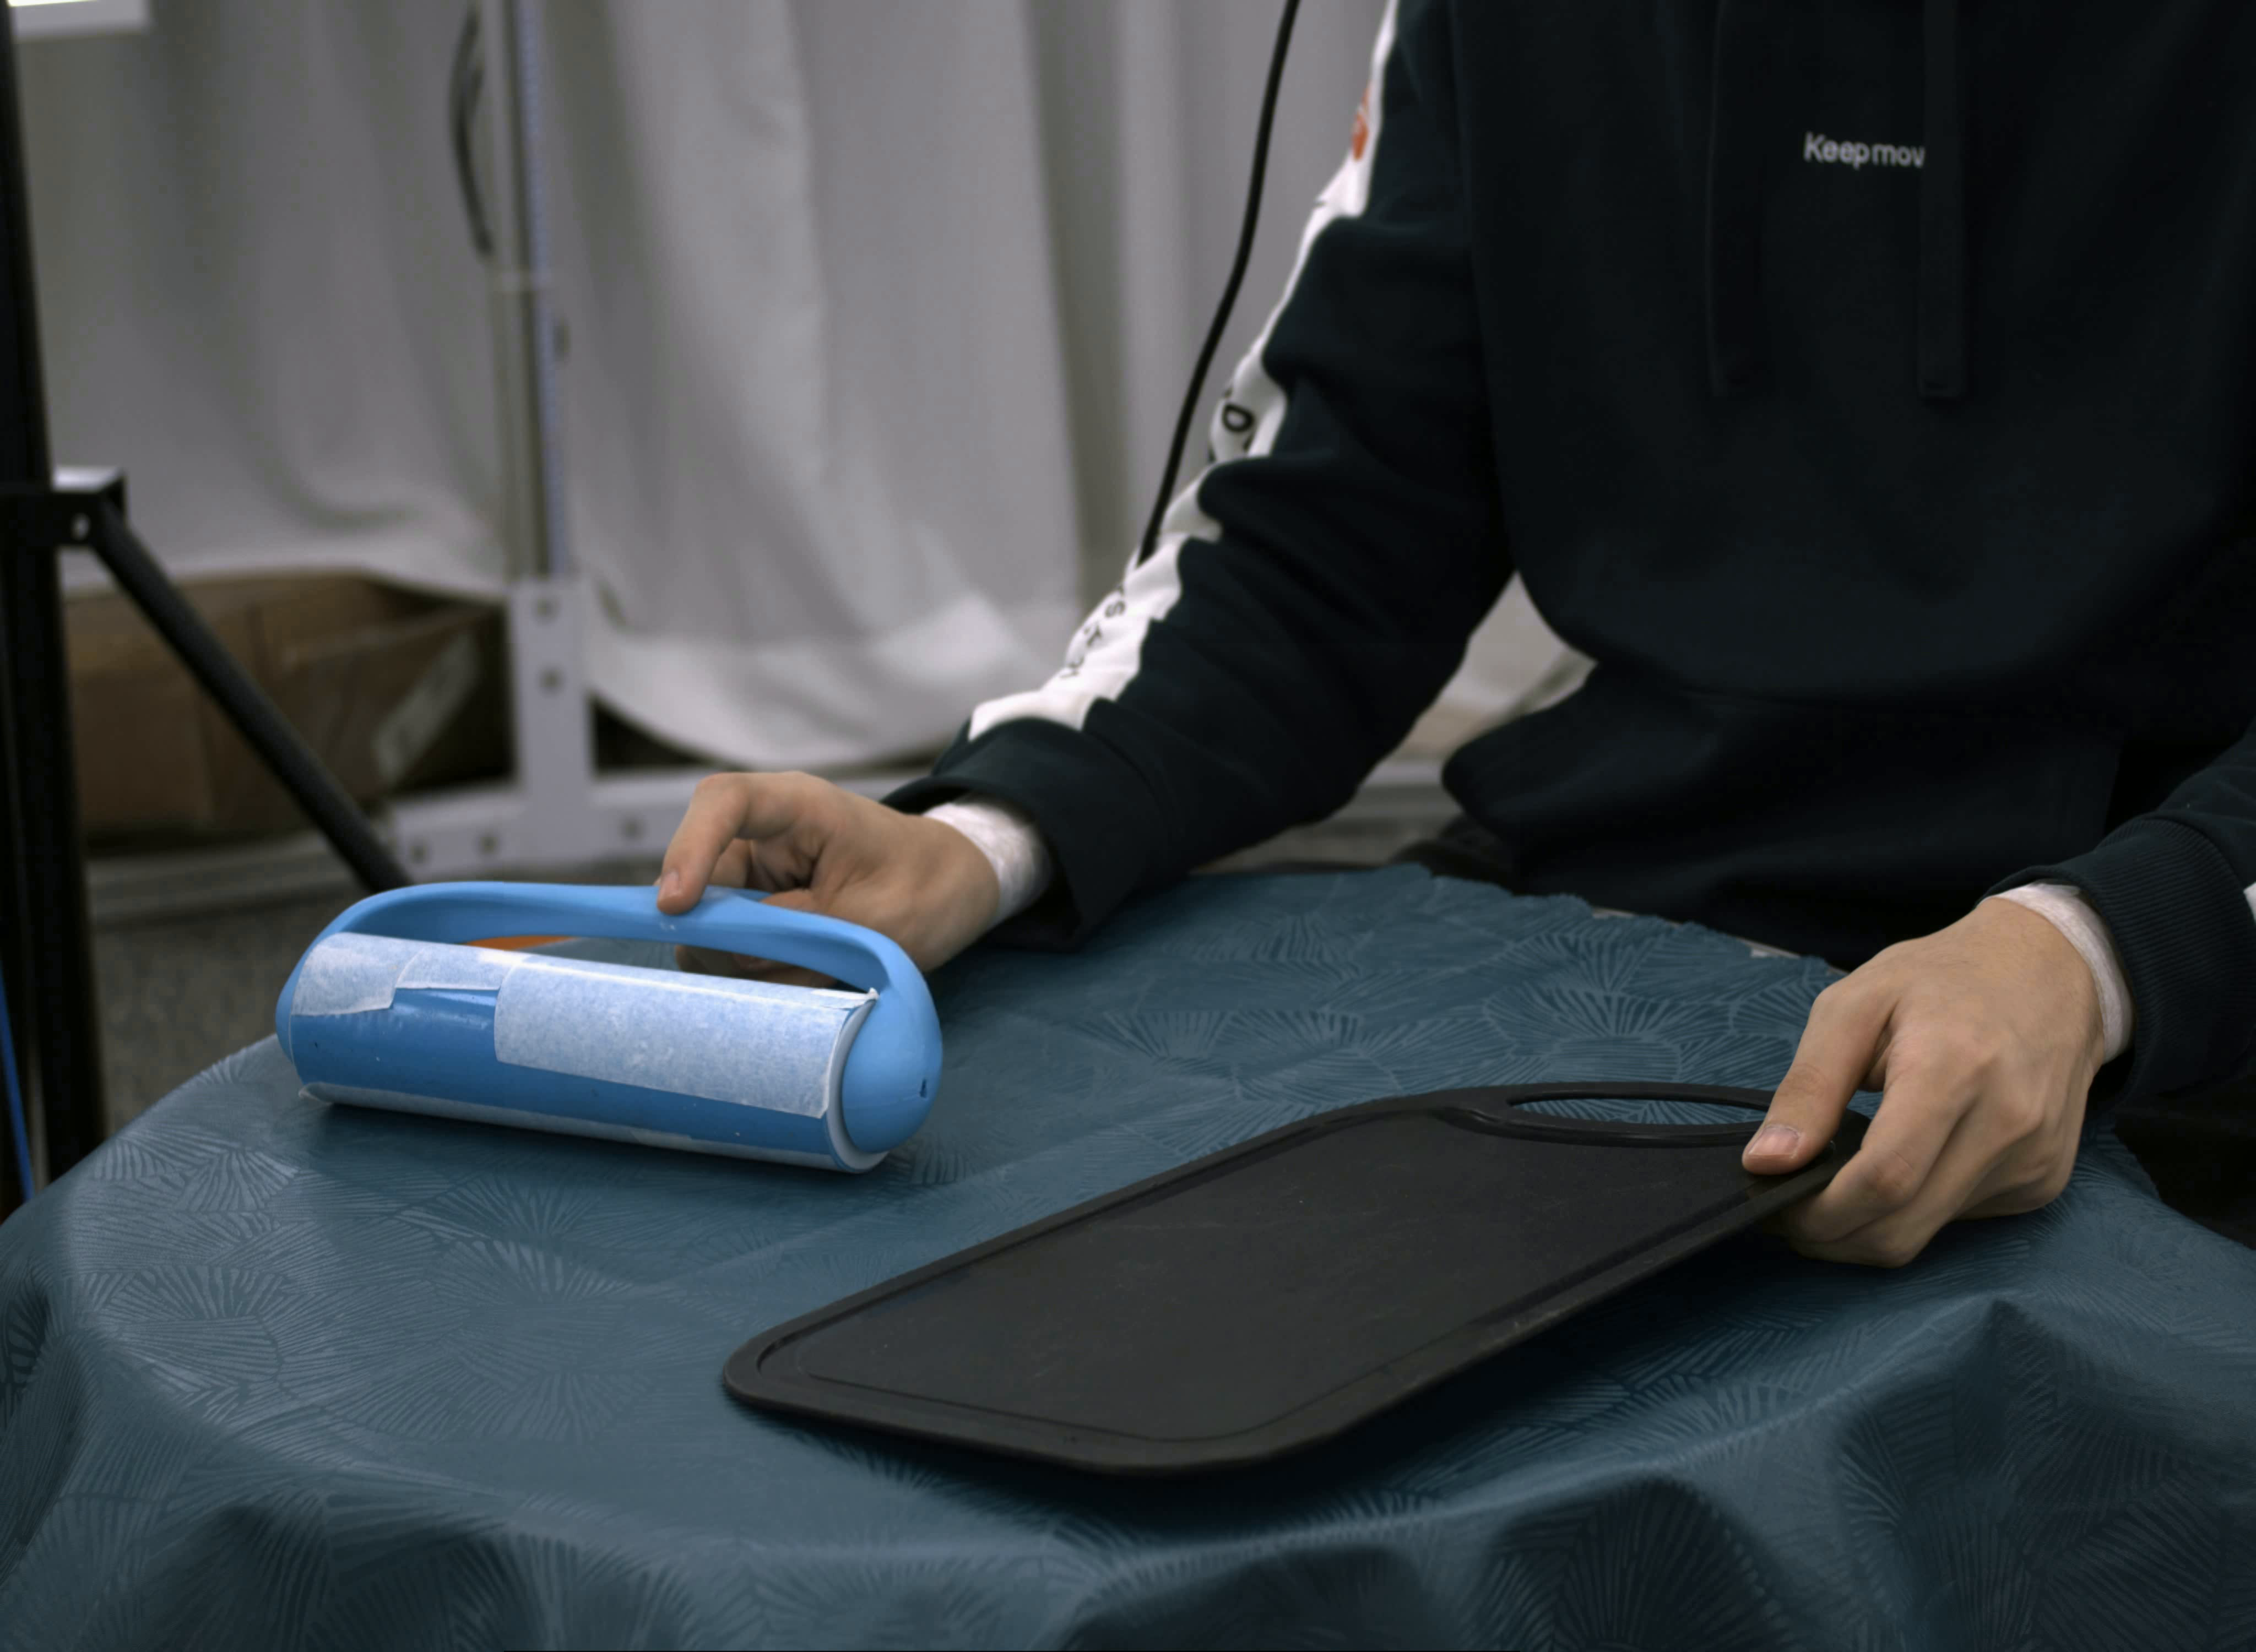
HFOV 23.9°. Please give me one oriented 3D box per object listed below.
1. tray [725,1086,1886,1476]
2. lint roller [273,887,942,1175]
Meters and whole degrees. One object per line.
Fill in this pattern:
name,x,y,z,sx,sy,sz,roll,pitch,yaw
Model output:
tray,0.057,0.116,1.461,0.318,0.010,0.216,-19,16,-42
lint roller,-0.138,0.052,1.676,0.232,0.068,0.177,3,17,25
